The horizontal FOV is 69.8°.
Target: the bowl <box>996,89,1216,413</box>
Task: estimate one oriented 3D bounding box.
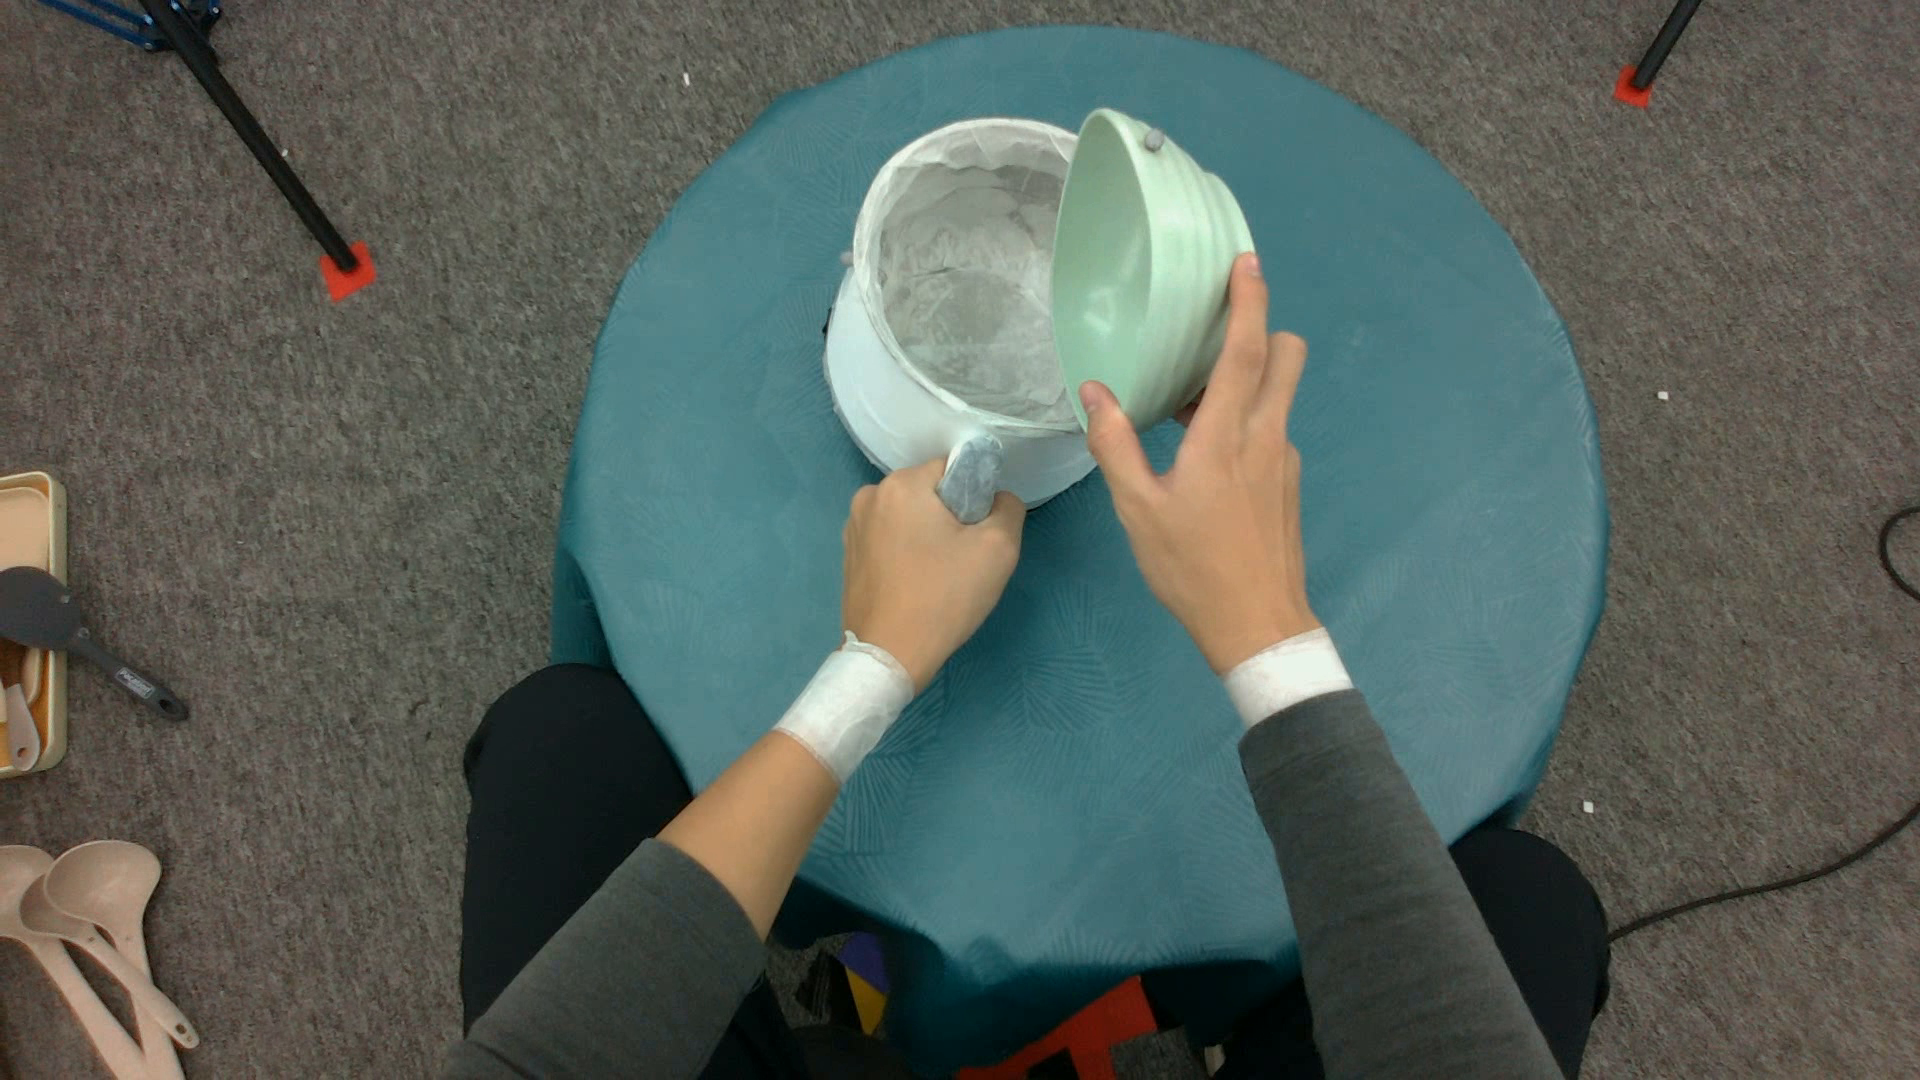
[{"bbox_3d":[0.070,-0.123,0.627,0.058,0.151,0.152,17,68,-15],"label":"bowl"}]

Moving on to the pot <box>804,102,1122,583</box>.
[{"bbox_3d":[0.006,-0.097,0.729,0.179,0.136,0.234,15,67,-8],"label":"pot"}]
